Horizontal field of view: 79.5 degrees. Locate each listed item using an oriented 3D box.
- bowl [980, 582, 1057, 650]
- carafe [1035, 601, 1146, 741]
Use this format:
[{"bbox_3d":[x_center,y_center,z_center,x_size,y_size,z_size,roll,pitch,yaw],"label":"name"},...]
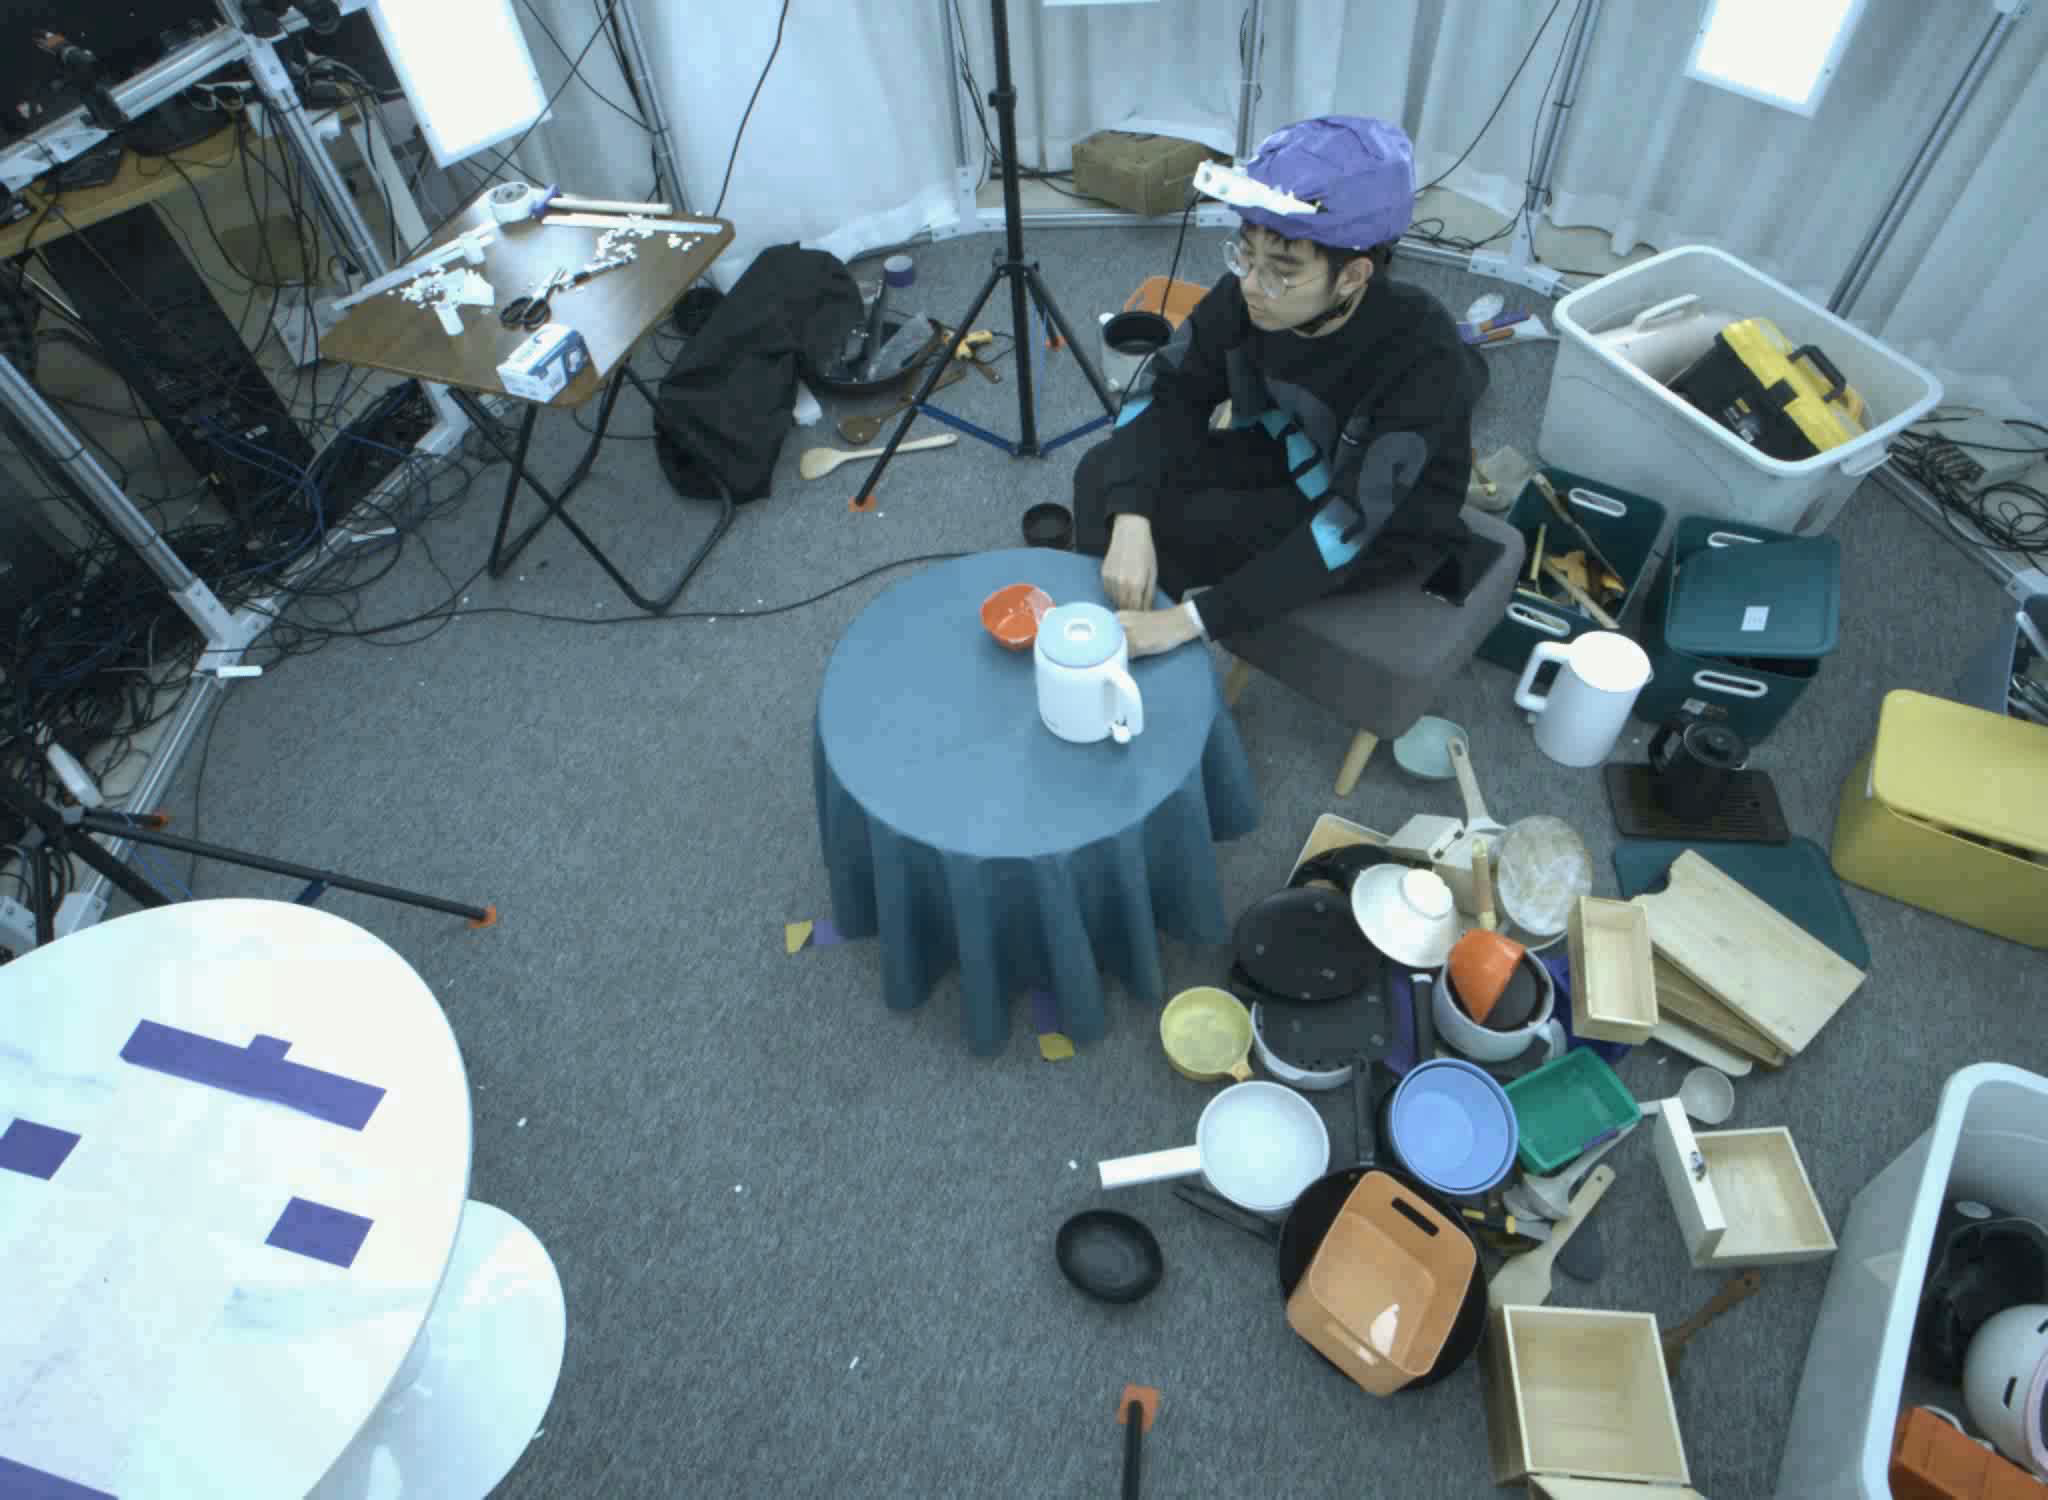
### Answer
[{"bbox_3d":[-0.006,-0.199,1.890,0.118,0.052,0.117,-3,55,5],"label":"bowl"},{"bbox_3d":[0.100,-0.097,1.744,0.133,0.184,0.188,-40,64,-21],"label":"carafe"}]
